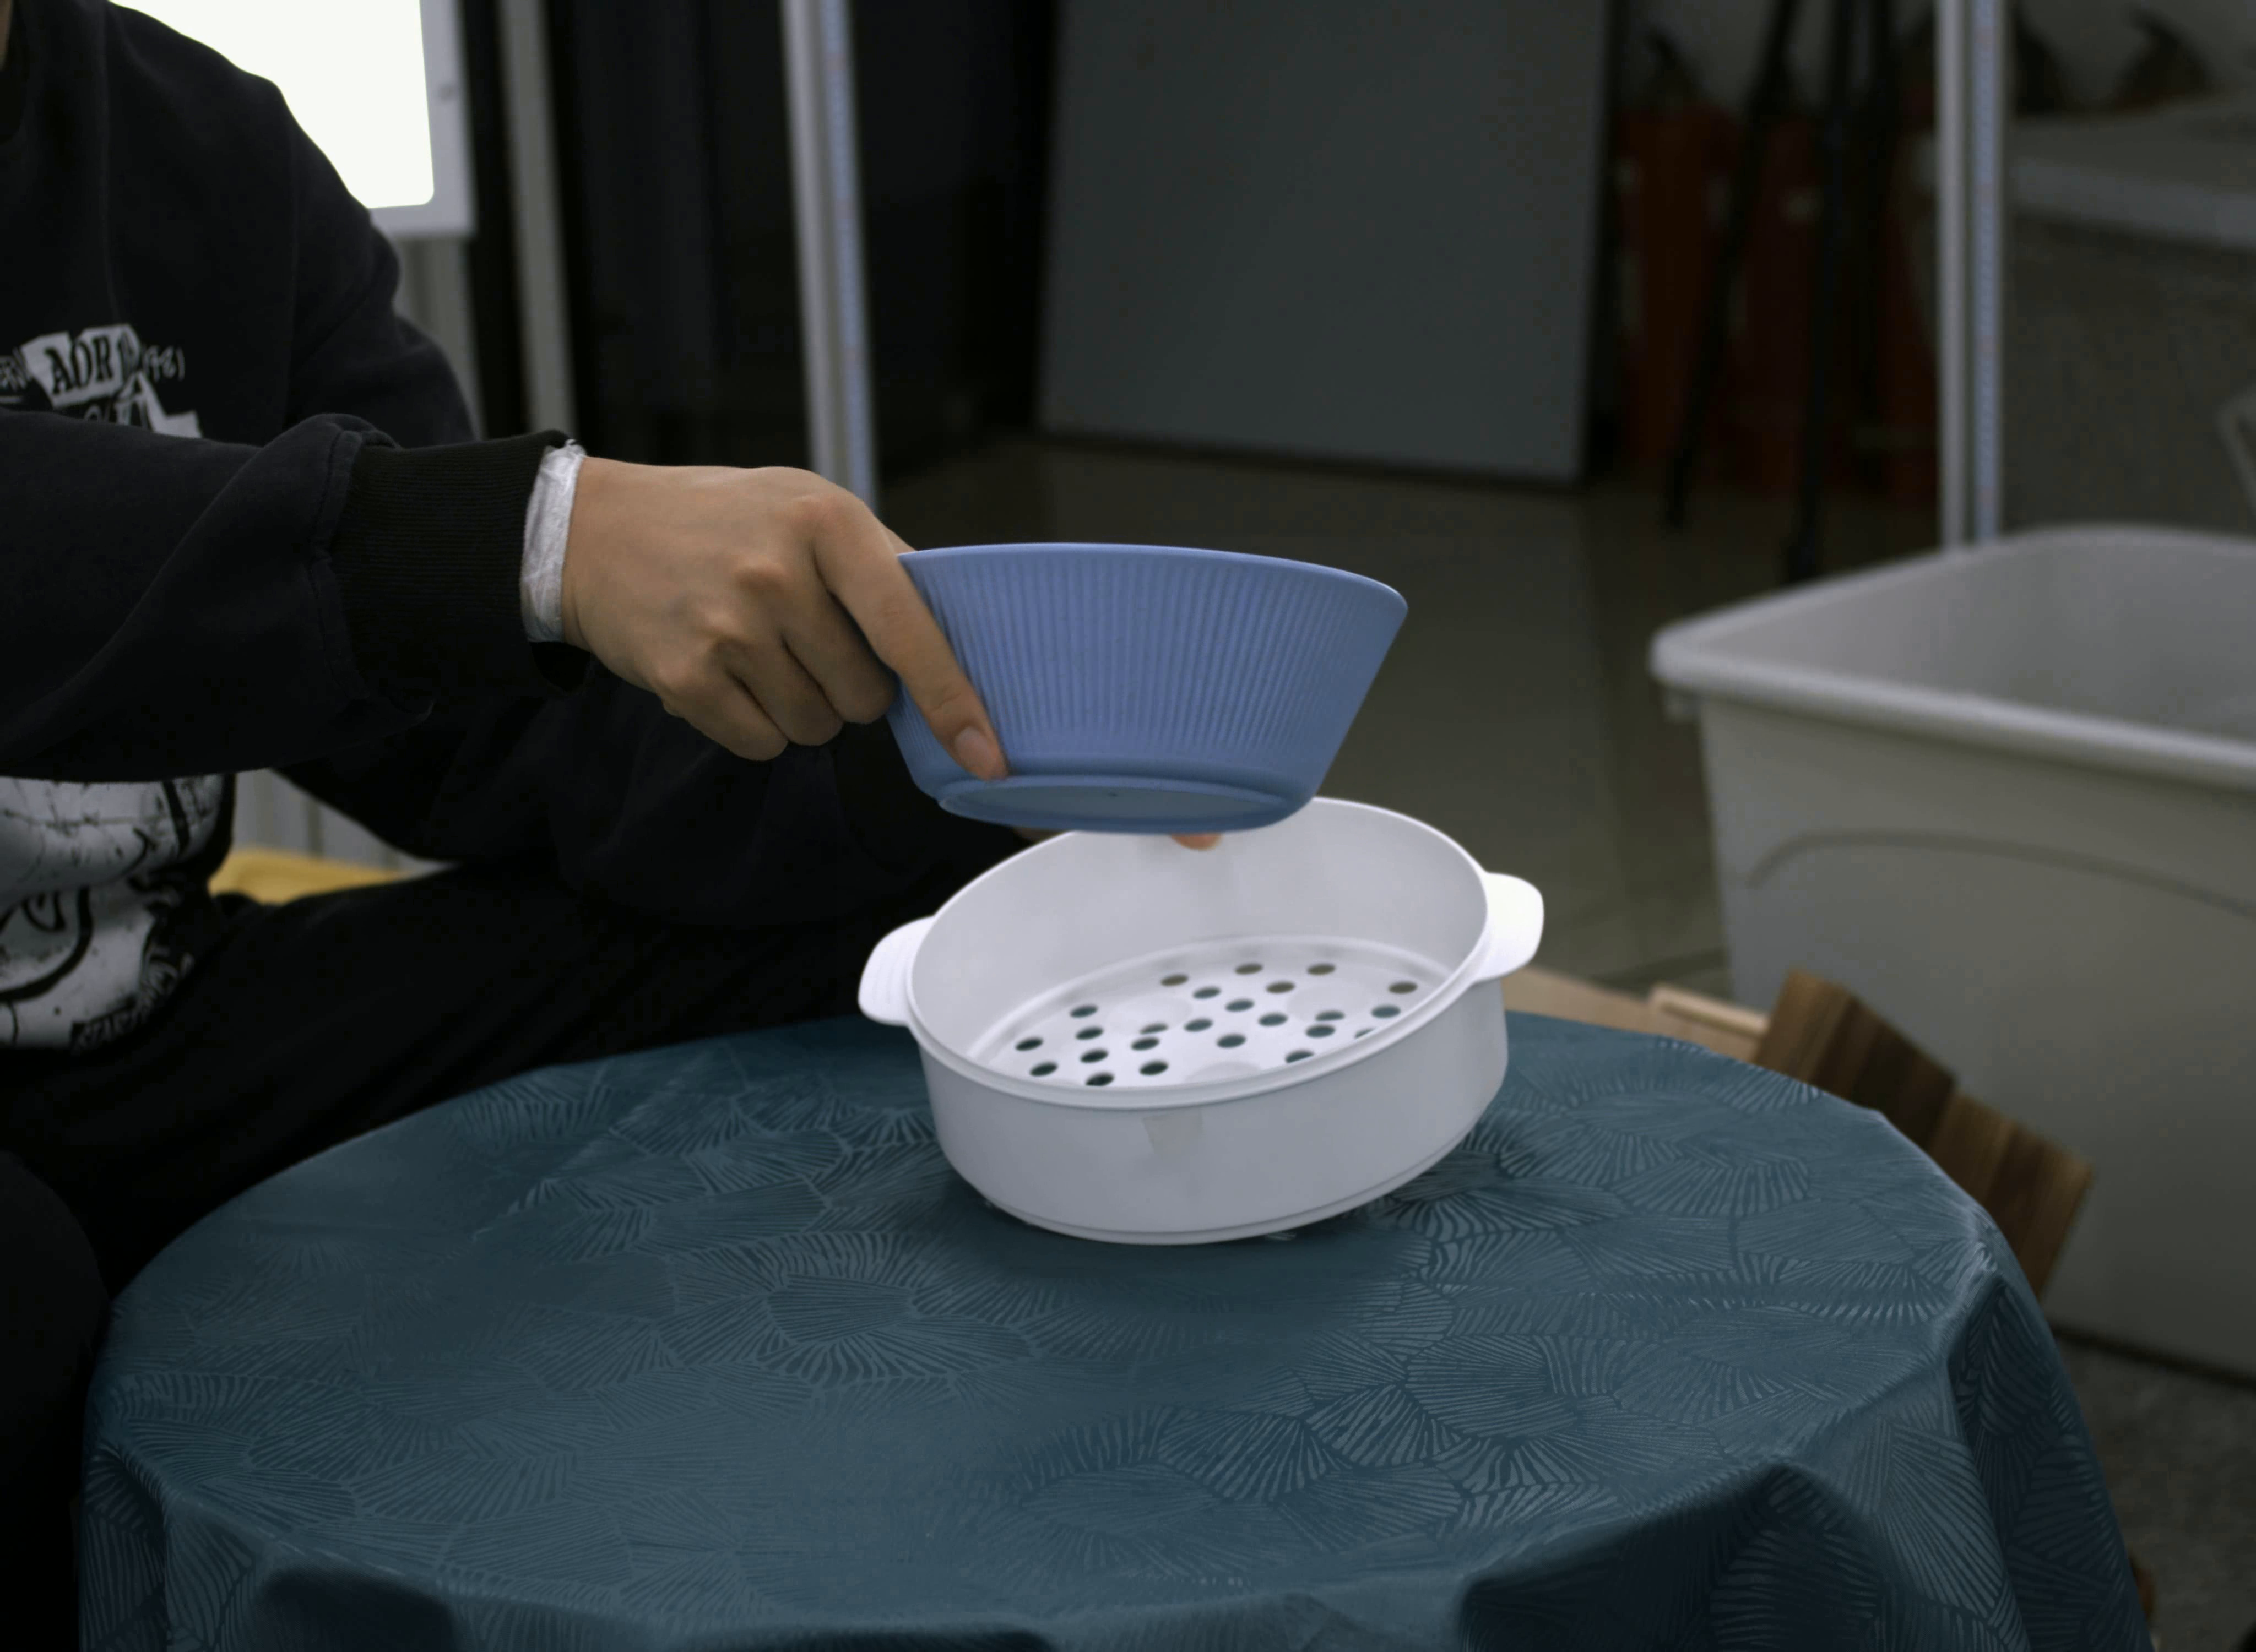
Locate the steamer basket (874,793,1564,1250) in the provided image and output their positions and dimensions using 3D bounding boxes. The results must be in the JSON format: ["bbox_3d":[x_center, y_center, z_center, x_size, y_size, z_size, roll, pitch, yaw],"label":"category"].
[{"bbox_3d":[0.032,0.064,1.777,0.229,0.070,0.202,-3,28,10],"label":"steamer basket"}]

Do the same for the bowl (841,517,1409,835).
[{"bbox_3d":[-0.002,-0.041,1.634,0.174,0.071,0.176,3,-11,0],"label":"bowl"}]
